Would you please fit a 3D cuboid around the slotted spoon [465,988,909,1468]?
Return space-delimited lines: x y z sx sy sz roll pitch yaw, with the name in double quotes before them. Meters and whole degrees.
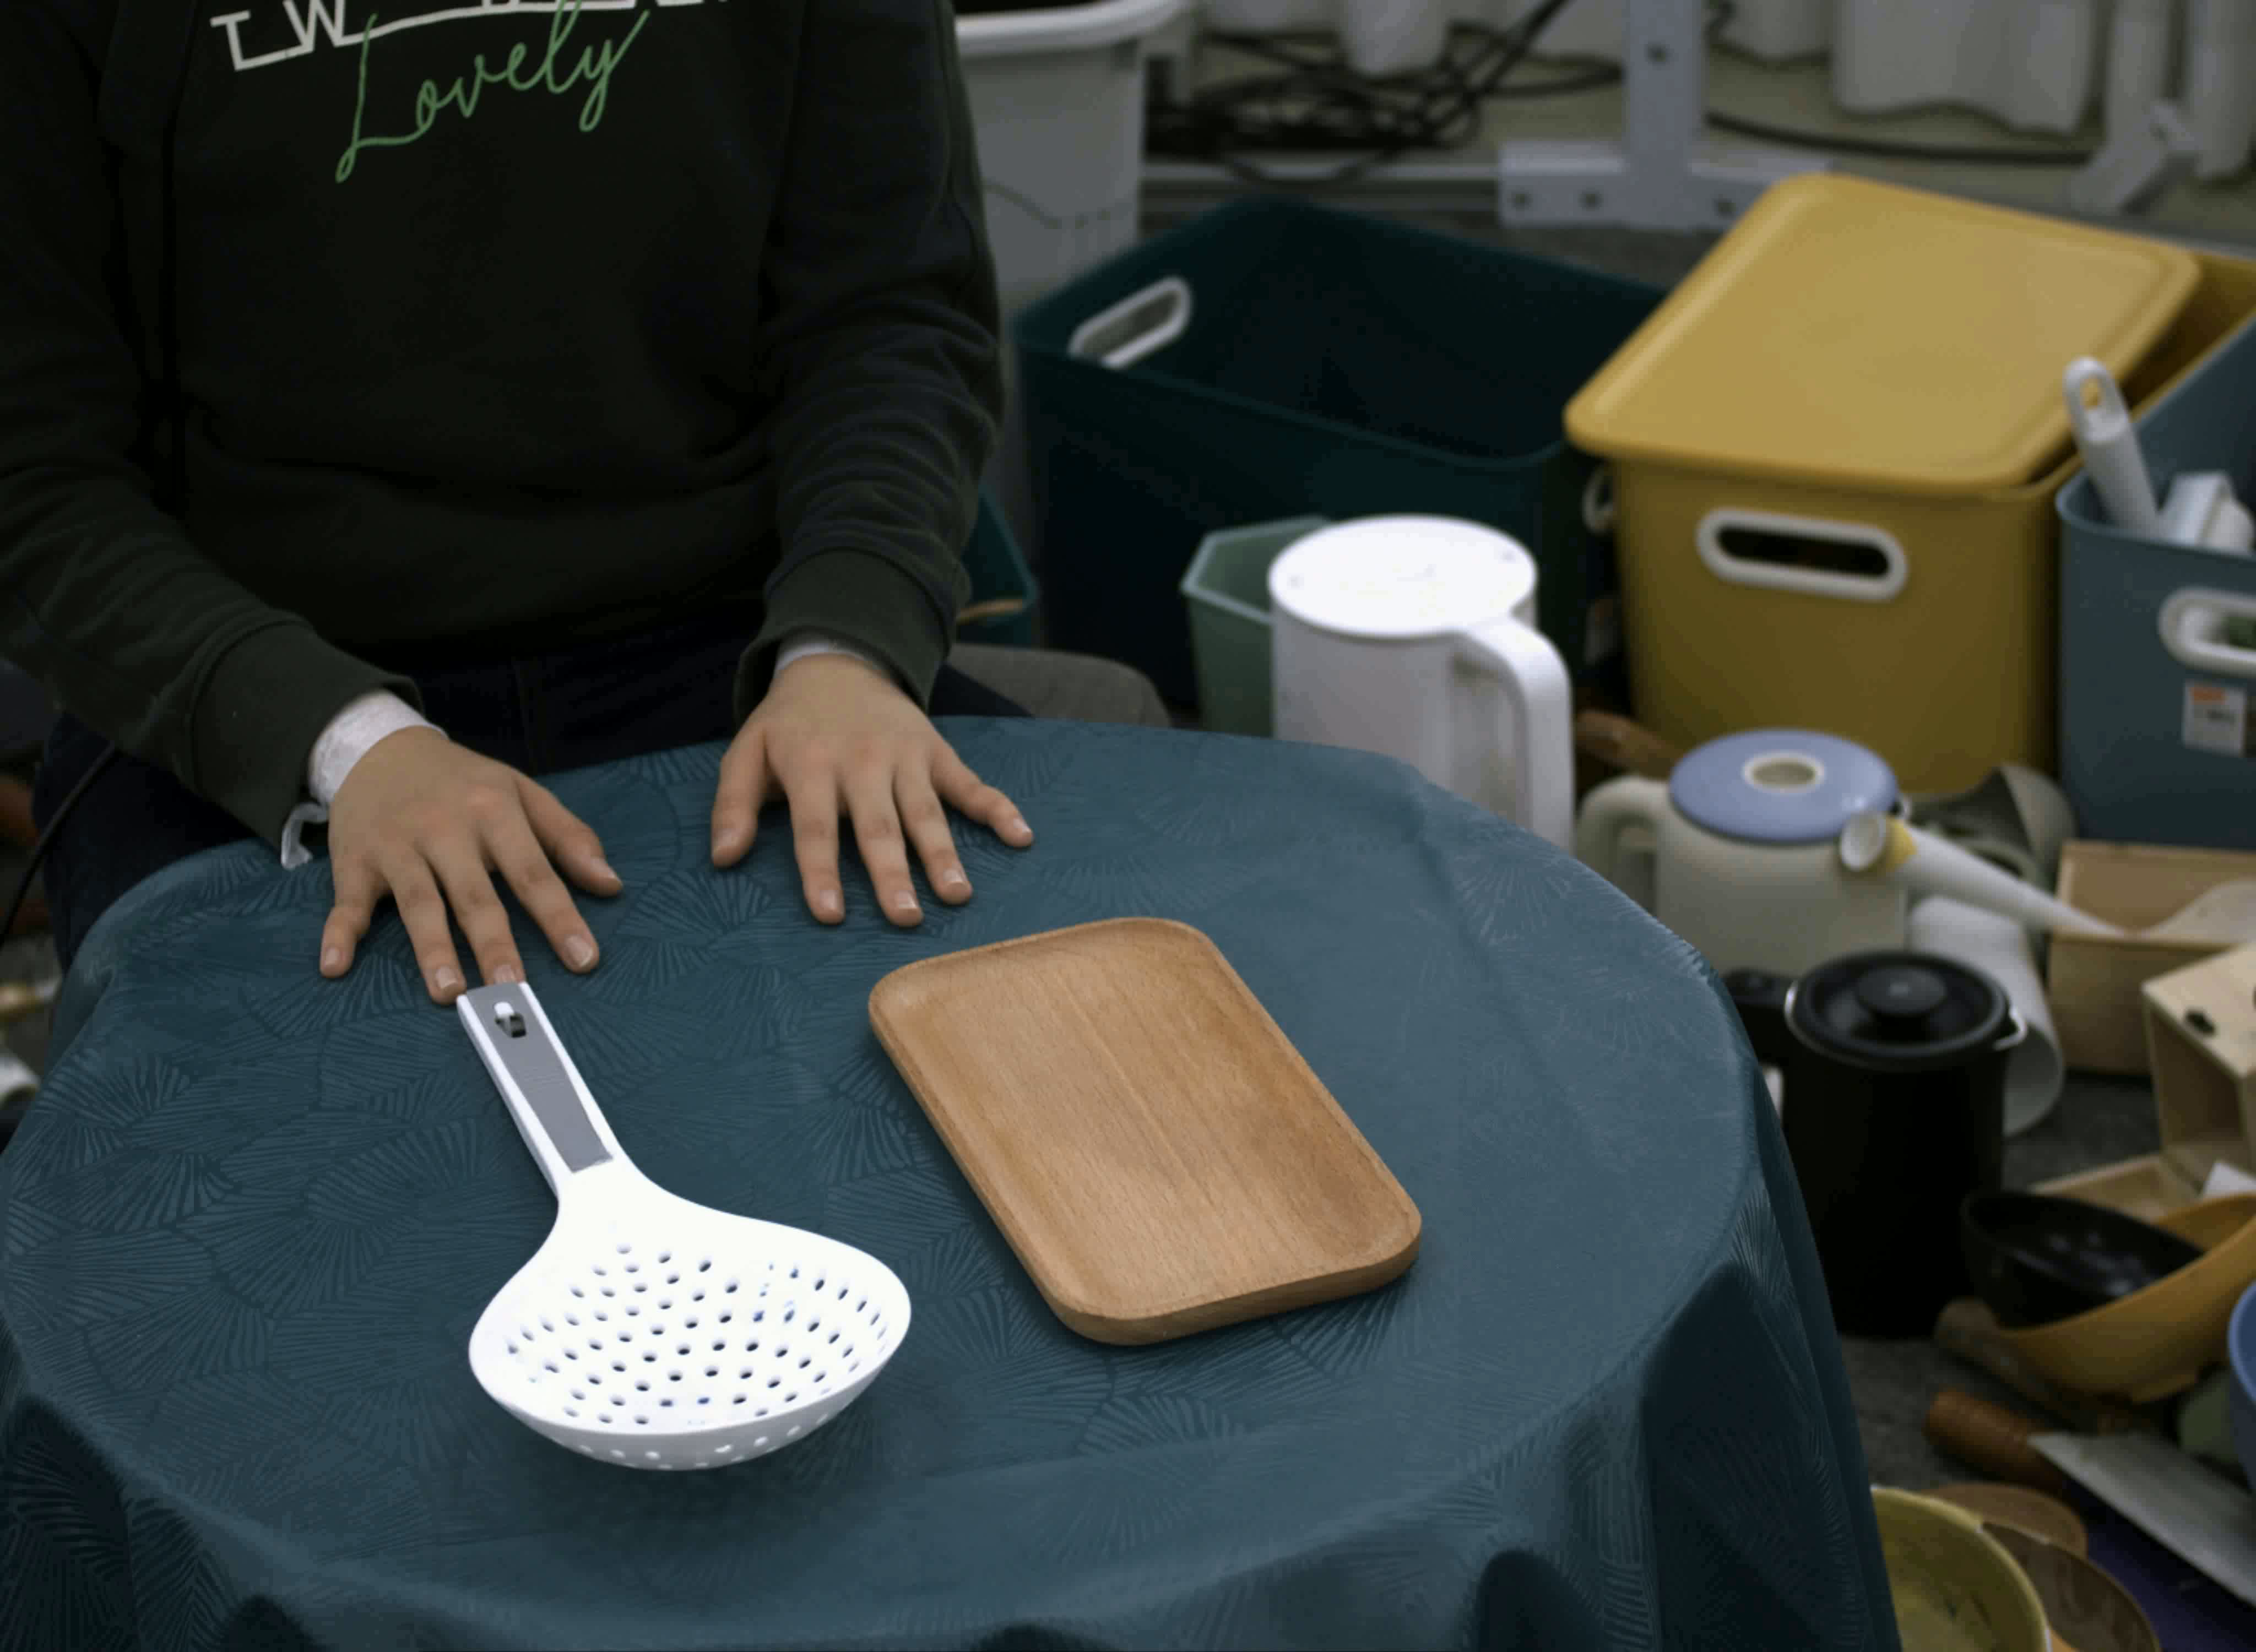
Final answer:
"slotted spoon" -0.169 0.124 1.824 0.136 0.045 0.353 -9 27 -16

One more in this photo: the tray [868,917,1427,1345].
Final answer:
"tray" 0.003 0.099 1.886 0.131 0.022 0.253 -10 27 -16
